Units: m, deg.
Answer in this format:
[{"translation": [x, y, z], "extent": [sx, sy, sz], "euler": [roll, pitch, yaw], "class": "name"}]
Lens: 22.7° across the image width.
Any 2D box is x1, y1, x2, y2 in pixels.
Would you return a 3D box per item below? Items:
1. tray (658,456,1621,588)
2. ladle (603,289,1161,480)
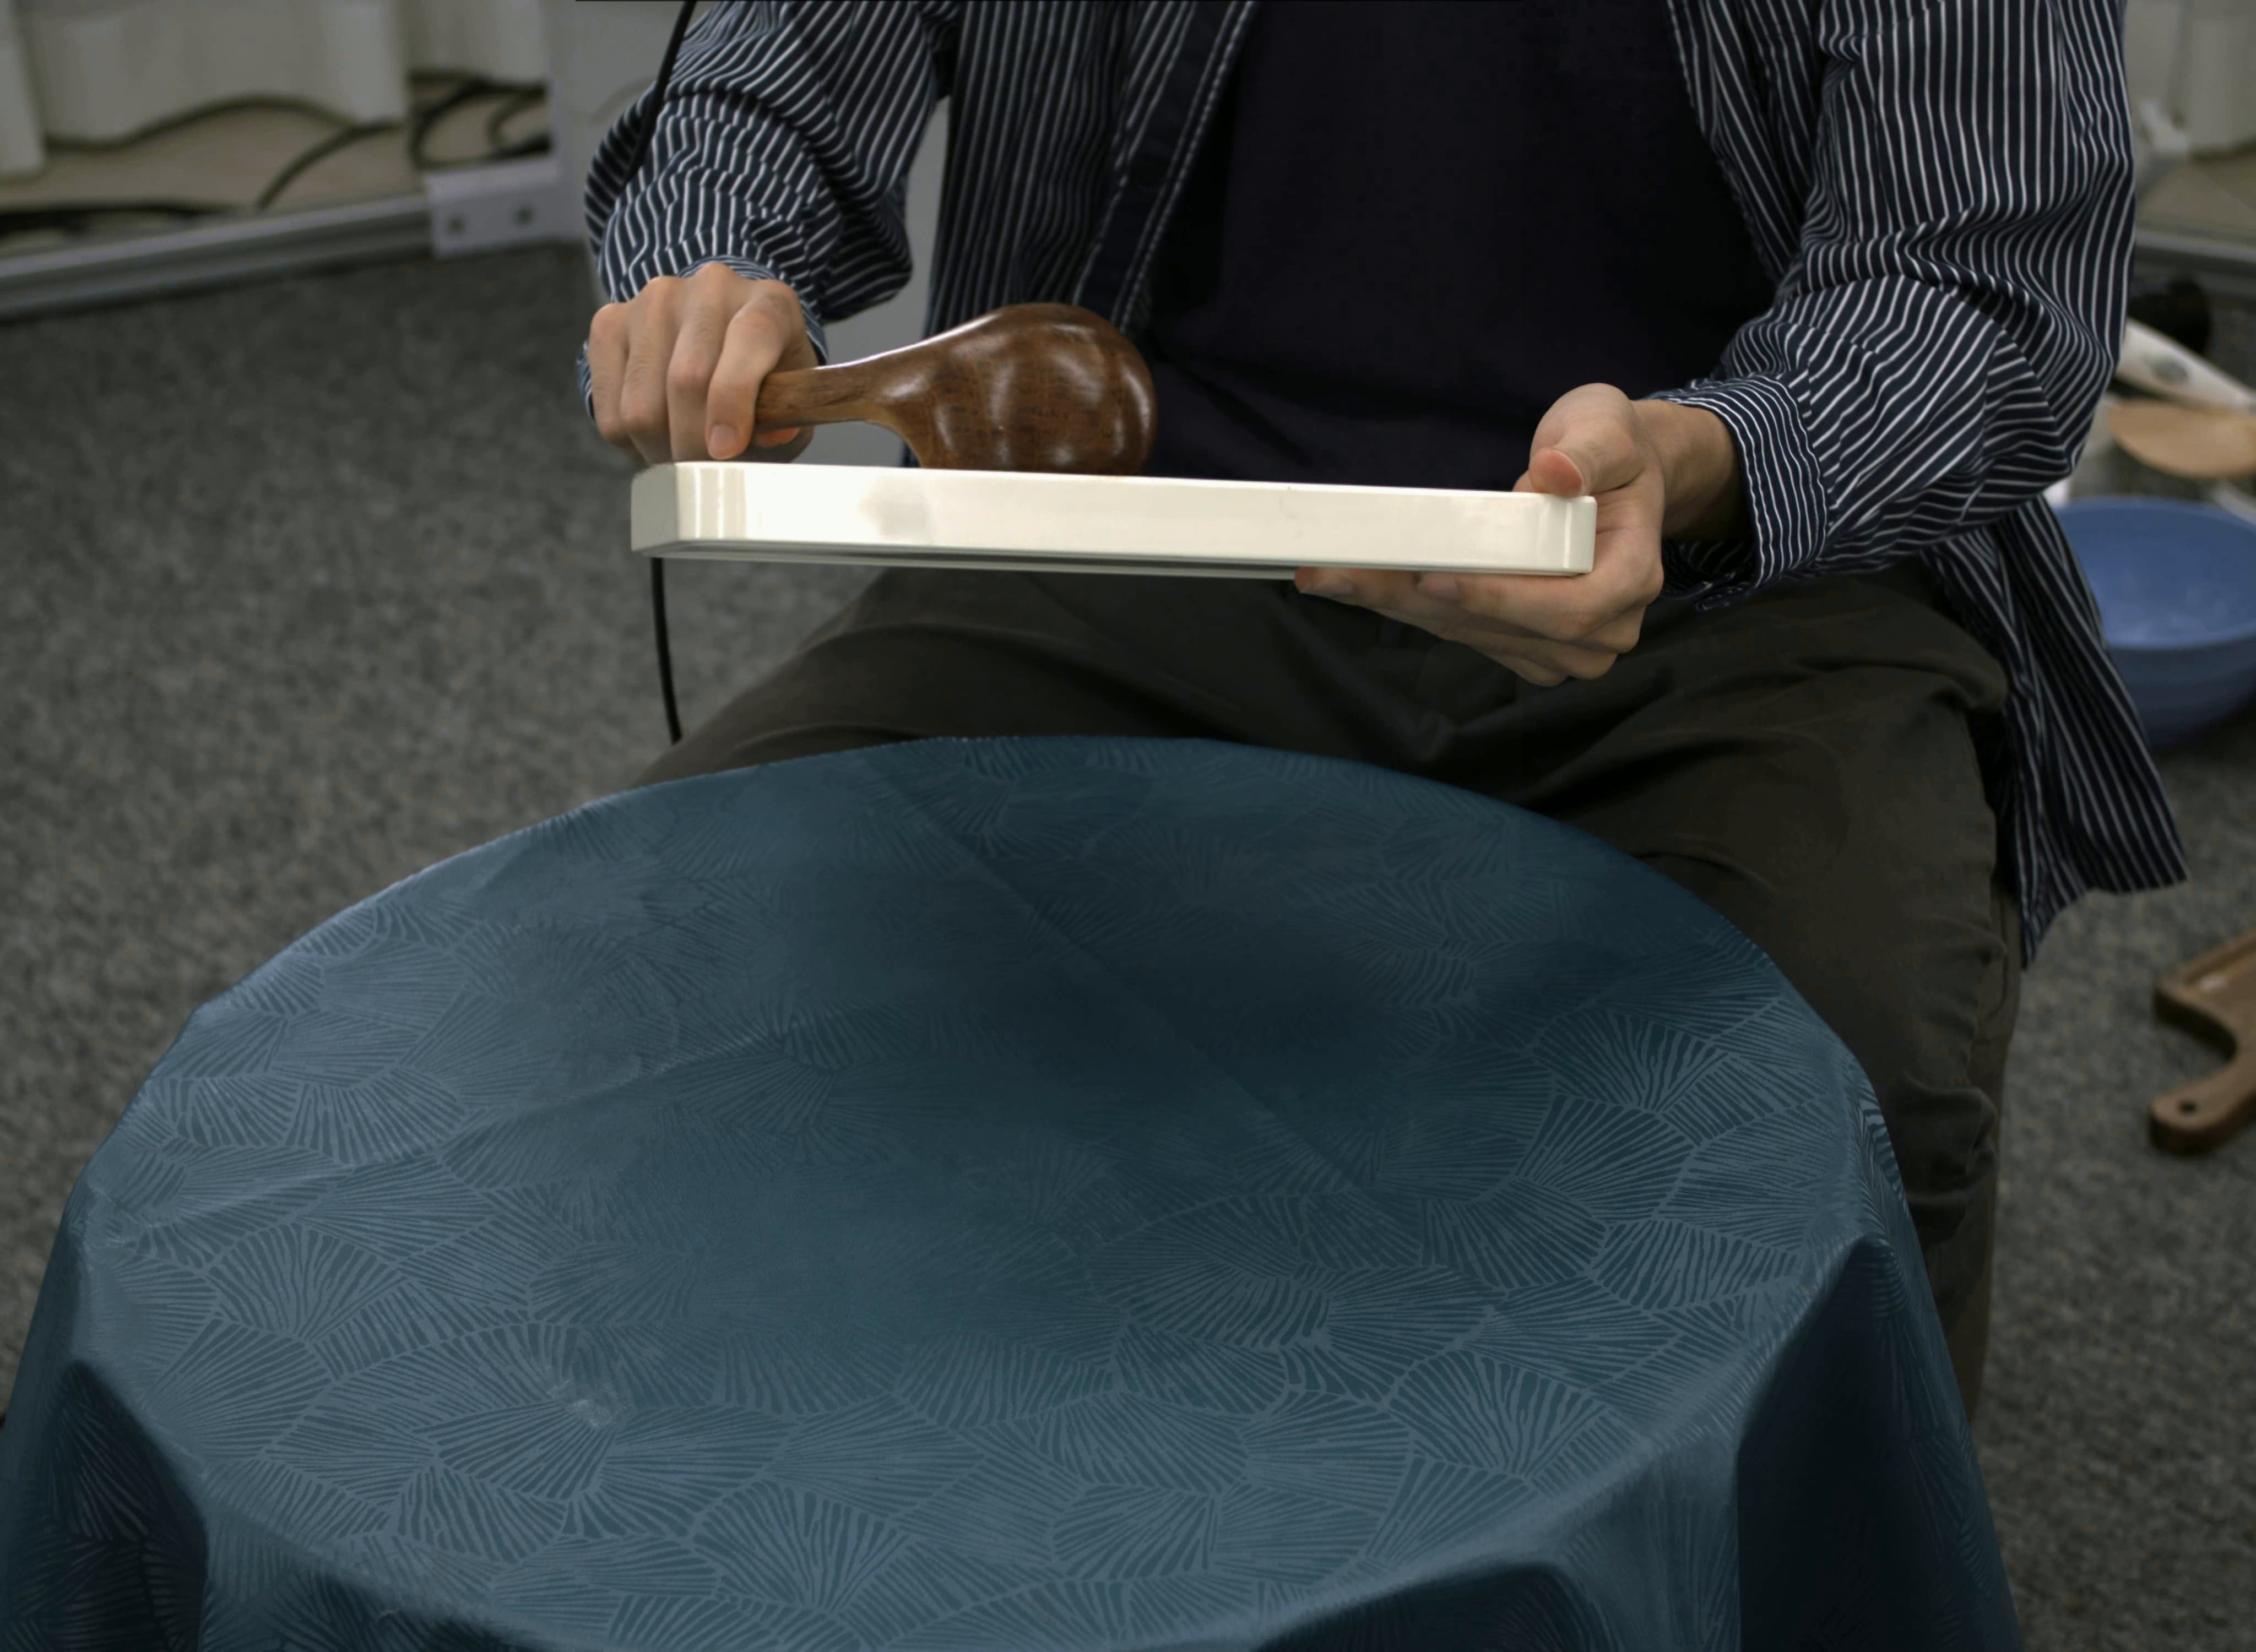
[{"translation": [-0.001, -0.099, 1.875], "extent": [0.299, 0.027, 0.191], "euler": [2, 1, -10], "class": "tray"}, {"translation": [-0.085, -0.139, 1.917], "extent": [0.272, 0.076, 0.083], "euler": [1, 62, 58], "class": "ladle"}]
